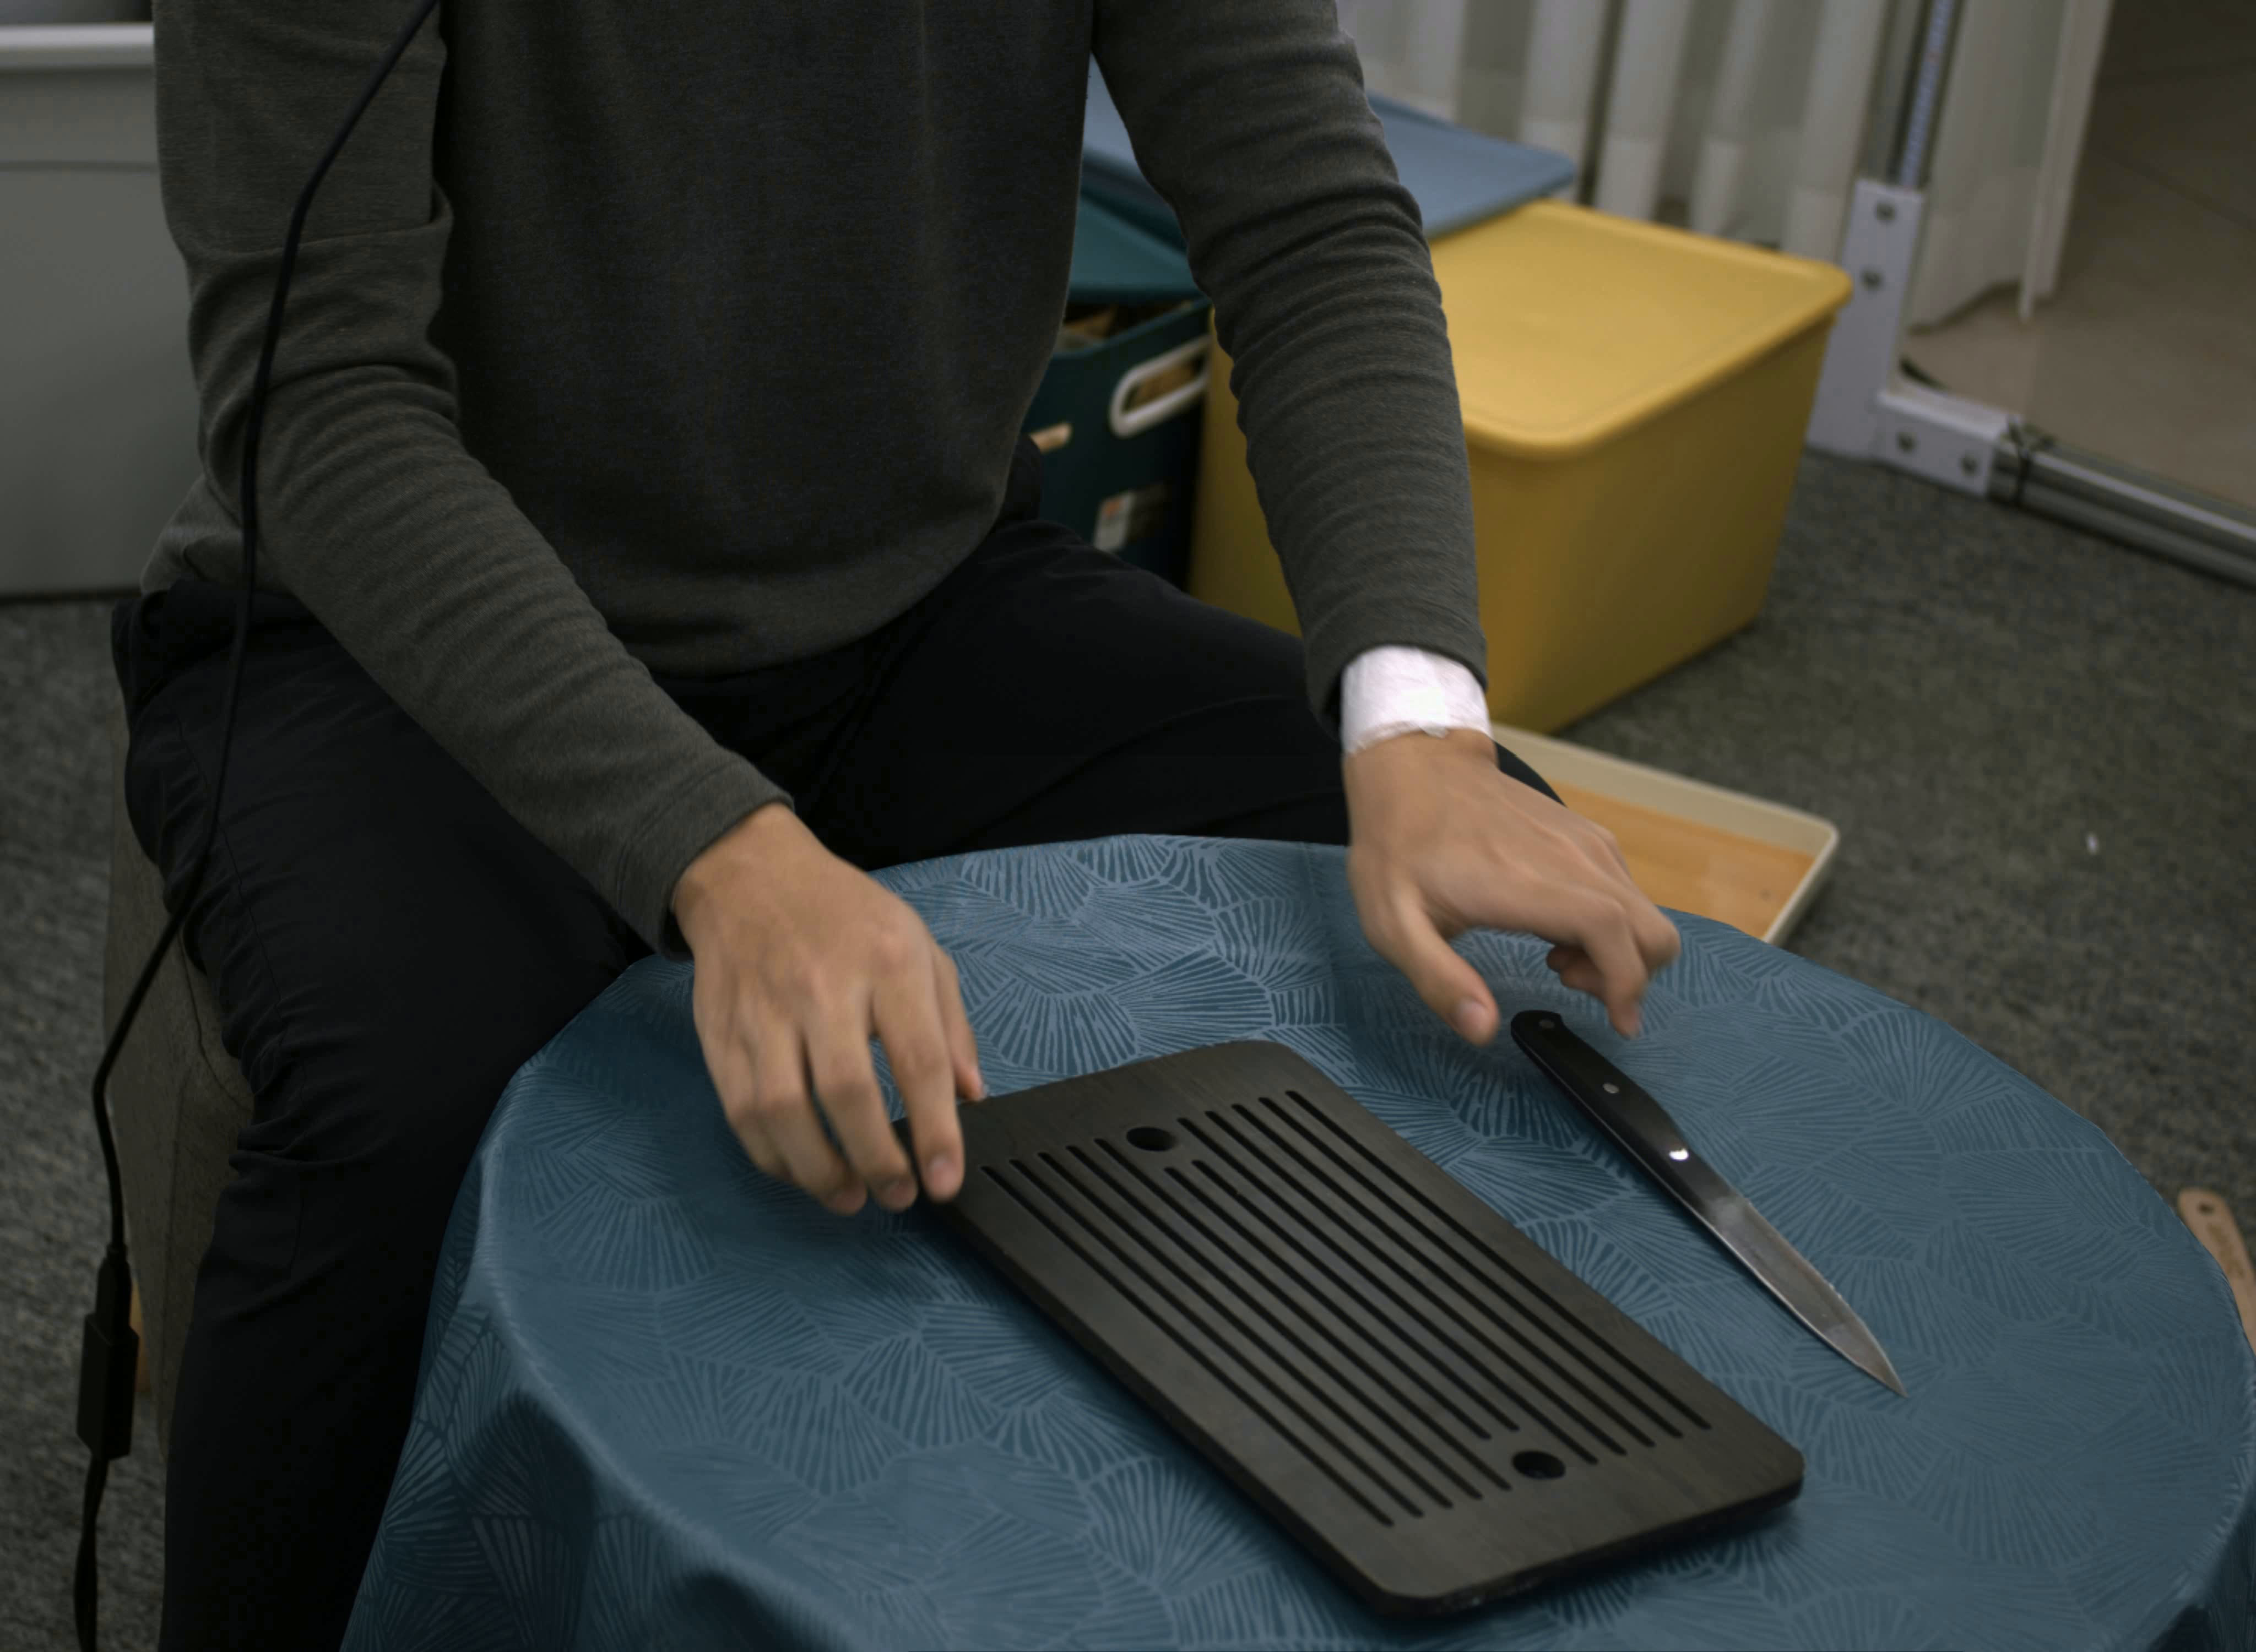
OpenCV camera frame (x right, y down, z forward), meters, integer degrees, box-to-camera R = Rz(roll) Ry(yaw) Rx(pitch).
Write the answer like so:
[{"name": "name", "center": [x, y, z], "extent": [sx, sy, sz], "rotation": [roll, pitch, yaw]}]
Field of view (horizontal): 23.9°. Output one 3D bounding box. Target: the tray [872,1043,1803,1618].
[{"name": "tray", "center": [0.062, 0.160, 1.729], "extent": [0.169, 0.018, 0.308], "rotation": [-12, 32, -32]}]

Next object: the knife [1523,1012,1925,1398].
[{"name": "knife", "center": [0.201, 0.130, 1.827], "extent": [0.024, 0.016, 0.240], "rotation": [-10, 34, -27]}]
